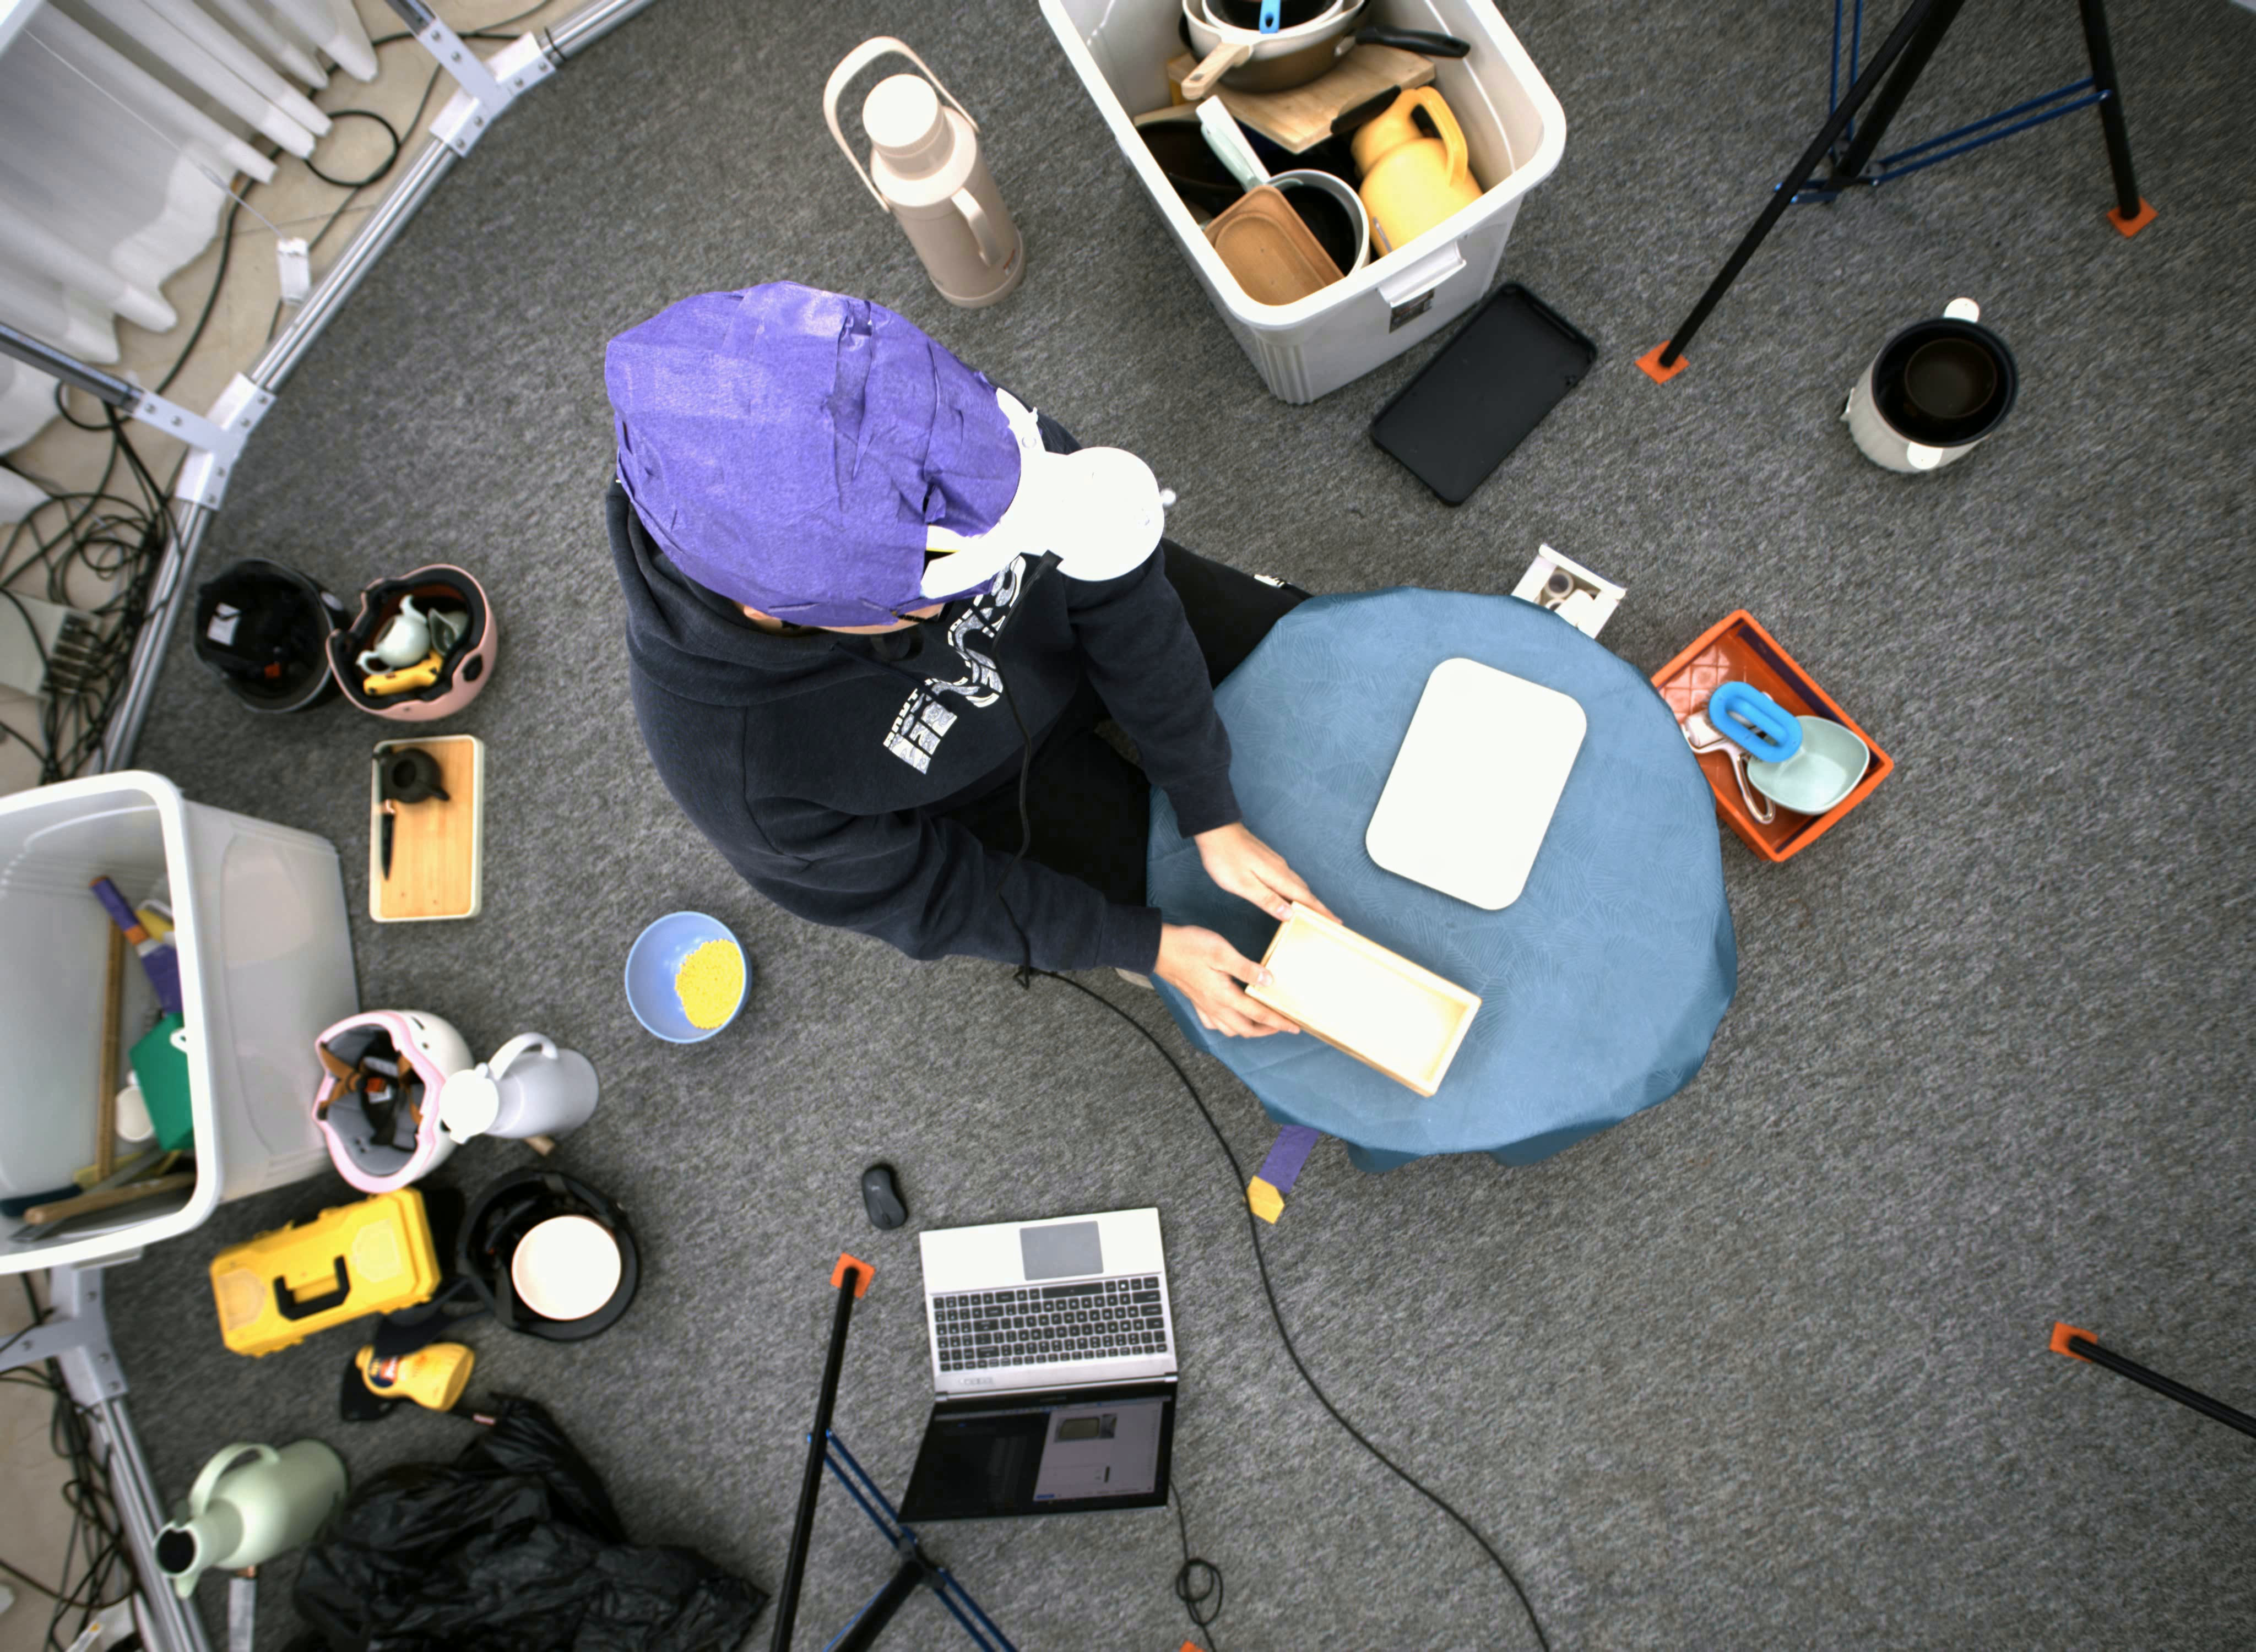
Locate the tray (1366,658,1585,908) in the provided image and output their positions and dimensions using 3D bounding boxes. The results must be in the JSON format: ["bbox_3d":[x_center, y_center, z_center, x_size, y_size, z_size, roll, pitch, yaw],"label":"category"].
[{"bbox_3d":[0.364,-0.048,1.441,0.171,0.017,0.239,22,91,12],"label":"tray"}]

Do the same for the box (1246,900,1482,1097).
[{"bbox_3d":[0.238,0.176,1.413,0.211,0.081,0.107,28,84,11],"label":"box"}]
